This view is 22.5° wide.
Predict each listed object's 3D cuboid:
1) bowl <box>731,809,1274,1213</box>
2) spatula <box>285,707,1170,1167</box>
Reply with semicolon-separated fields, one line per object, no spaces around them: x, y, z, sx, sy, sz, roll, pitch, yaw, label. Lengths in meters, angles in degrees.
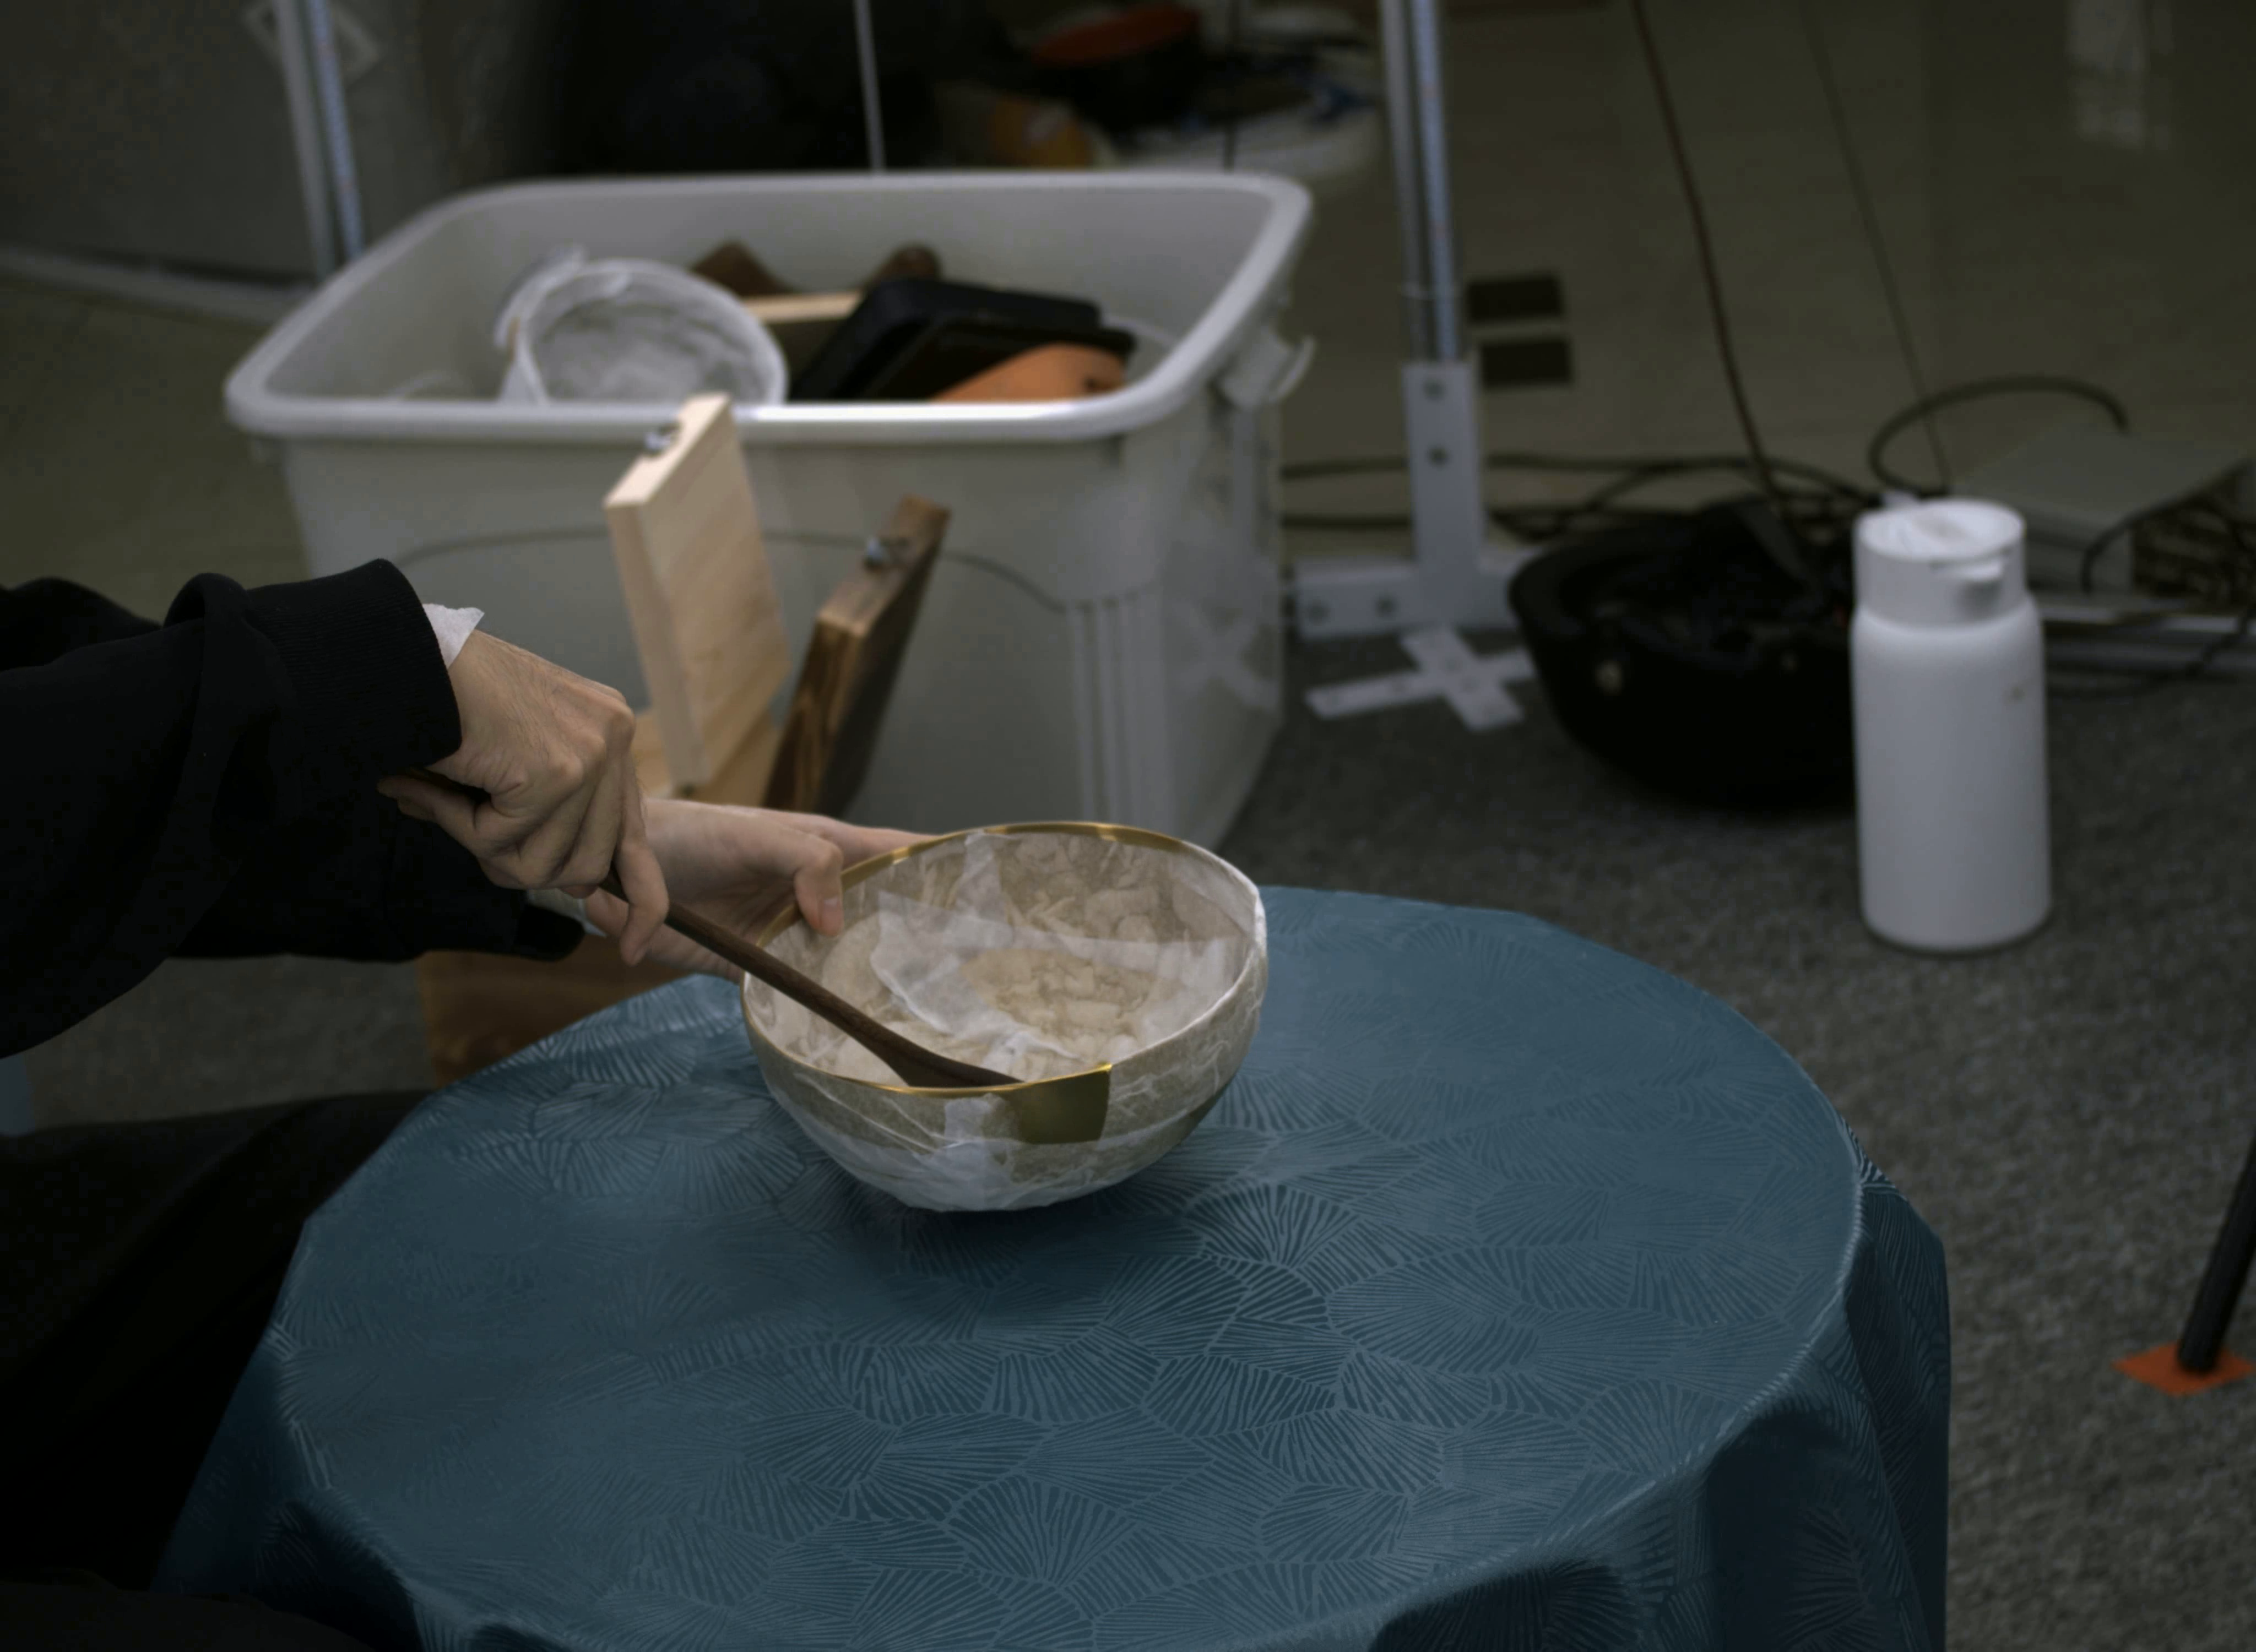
-0.043;0.085;2.165;0.214;0.096;0.211;-7;30;4;bowl
-0.145;0.044;2.054;0.096;0.389;0.015;1;64;55;spatula
